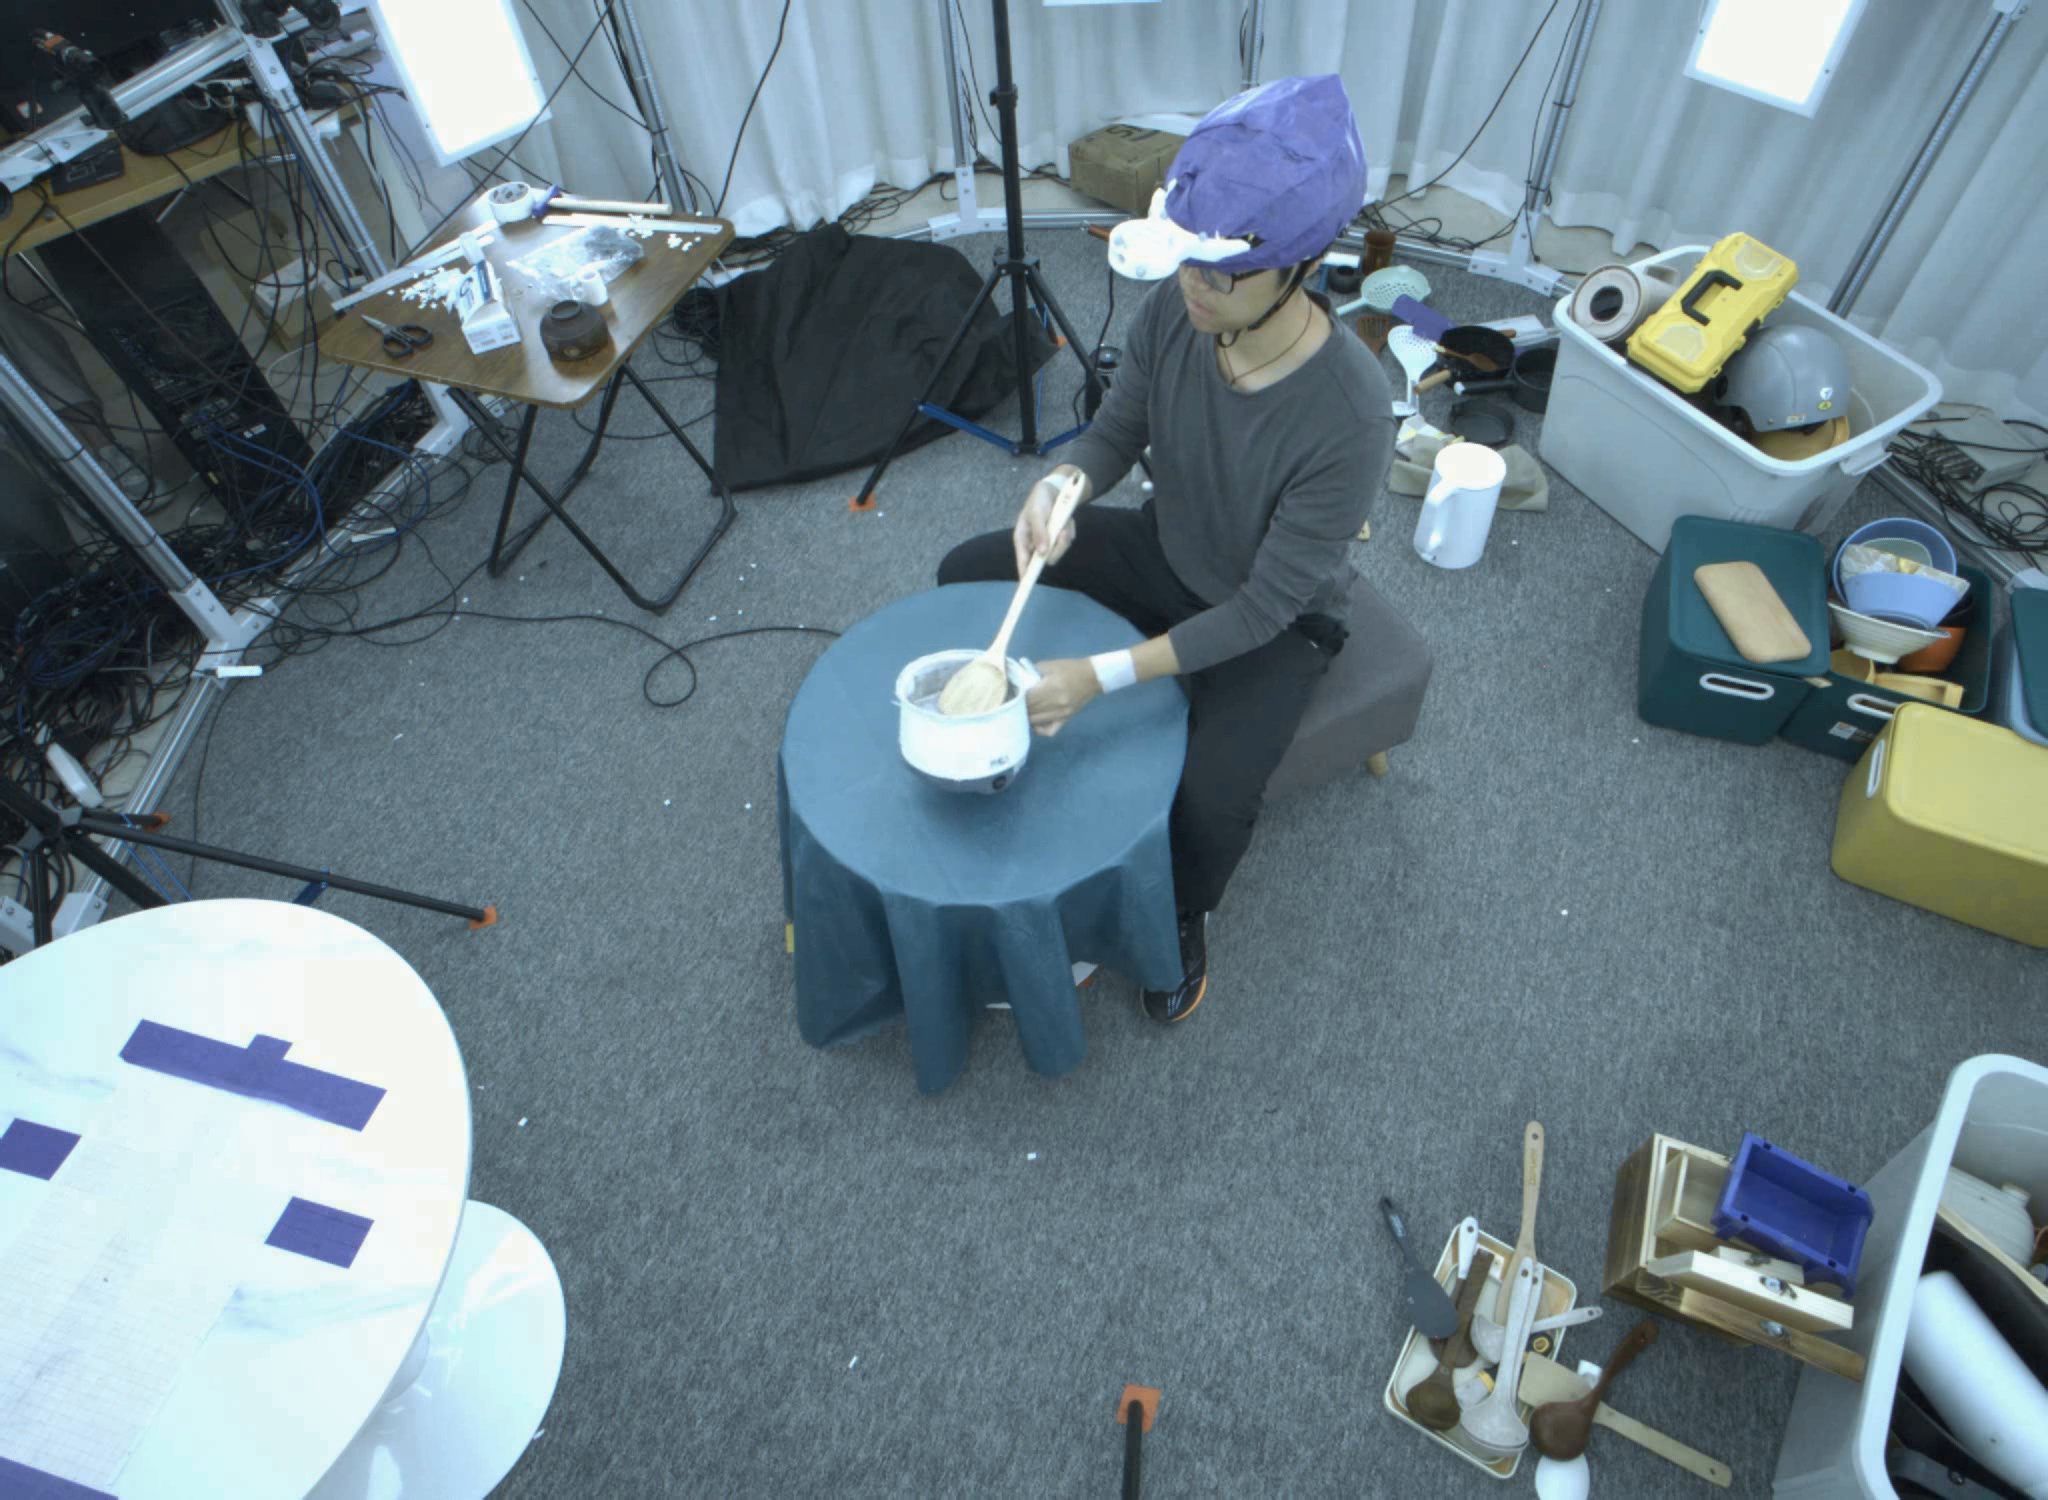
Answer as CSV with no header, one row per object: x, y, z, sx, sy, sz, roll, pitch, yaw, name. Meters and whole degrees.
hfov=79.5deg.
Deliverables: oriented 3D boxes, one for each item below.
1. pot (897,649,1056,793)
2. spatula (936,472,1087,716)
-0.058,-0.048,1.691,0.237,0.138,0.174,-23,42,-29,pot
-0.007,-0.214,1.698,0.094,0.019,0.390,24,87,23,spatula
